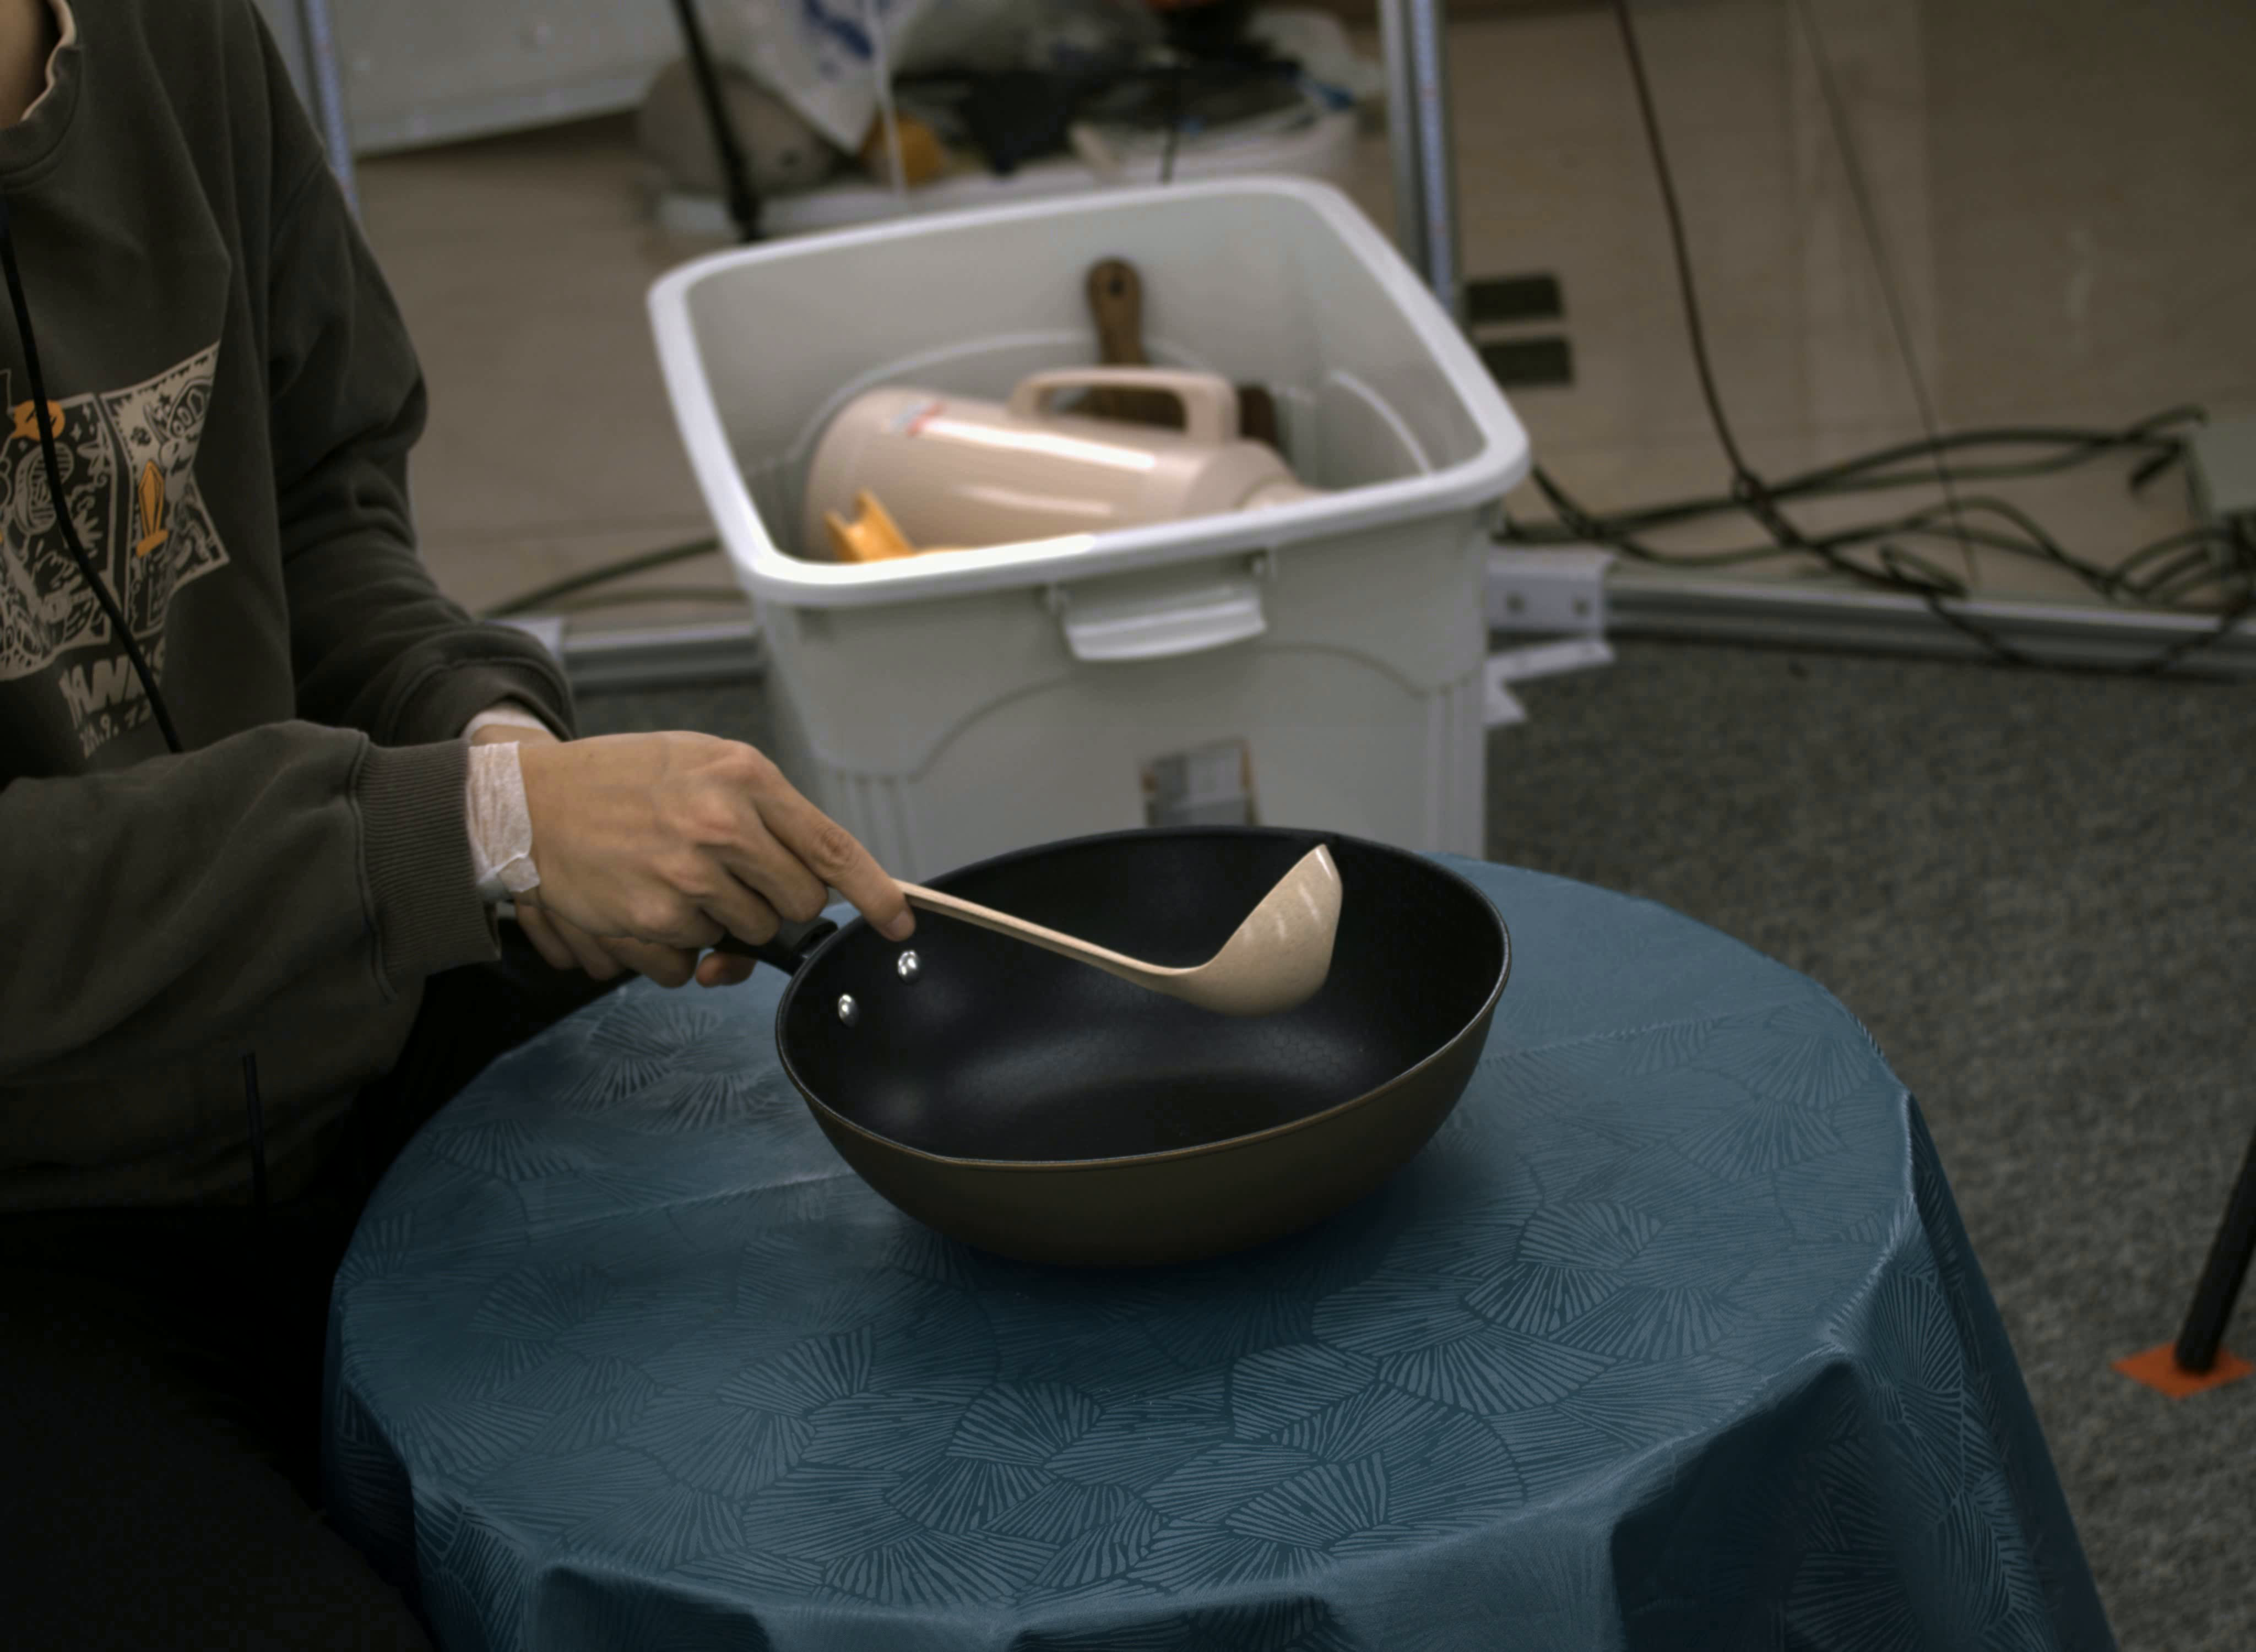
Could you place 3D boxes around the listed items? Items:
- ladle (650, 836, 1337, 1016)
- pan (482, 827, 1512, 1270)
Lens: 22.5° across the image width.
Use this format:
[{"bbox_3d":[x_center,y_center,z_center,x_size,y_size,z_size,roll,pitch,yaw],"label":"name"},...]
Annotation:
[{"bbox_3d":[-0.047,0.009,2.115,0.254,0.072,0.072,16,-14,-5],"label":"ladle"},{"bbox_3d":[-0.066,0.081,2.189,0.461,0.088,0.285,9,29,33],"label":"pan"}]
